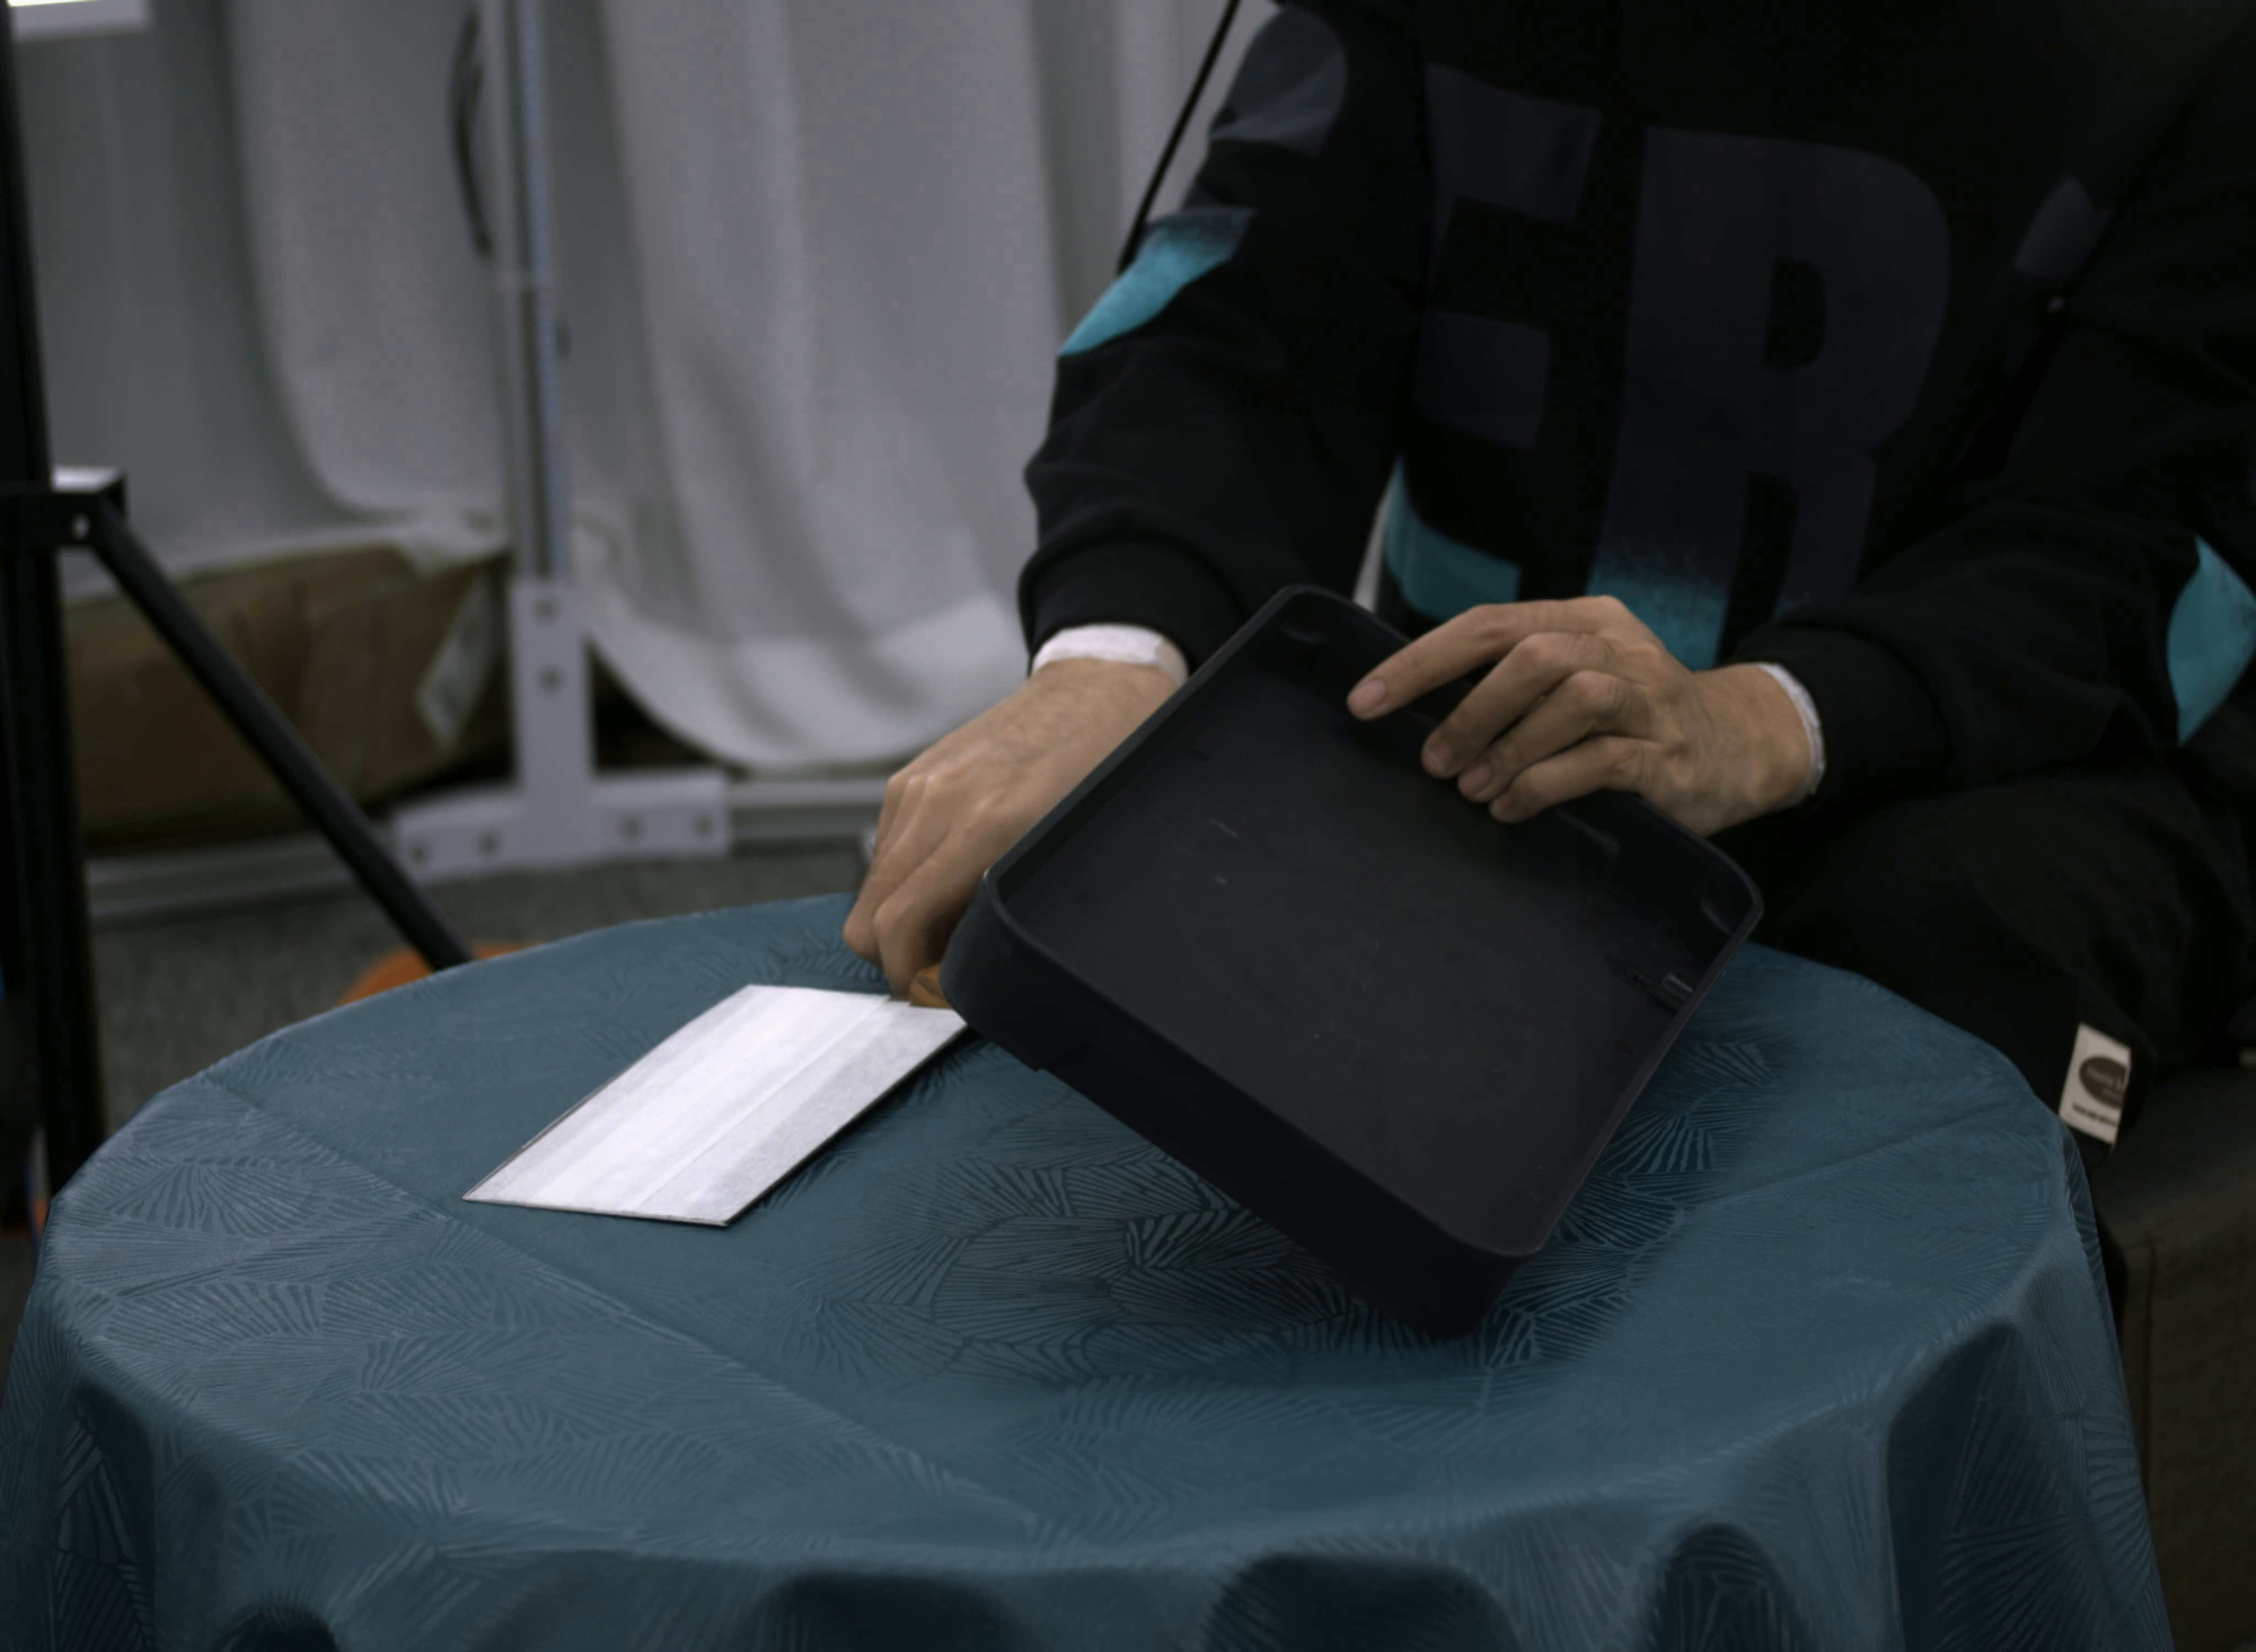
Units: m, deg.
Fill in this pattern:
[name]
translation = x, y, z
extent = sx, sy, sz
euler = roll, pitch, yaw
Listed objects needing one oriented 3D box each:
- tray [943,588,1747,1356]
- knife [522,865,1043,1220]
[tray]
translation = 0.071, 0.034, 1.554
extent = 0.185, 0.037, 0.315
euler = 33, 26, 5
[knife]
translation = -0.097, 0.067, 1.692
extent = 0.094, 0.021, 0.302
euler = 3, 19, 23
